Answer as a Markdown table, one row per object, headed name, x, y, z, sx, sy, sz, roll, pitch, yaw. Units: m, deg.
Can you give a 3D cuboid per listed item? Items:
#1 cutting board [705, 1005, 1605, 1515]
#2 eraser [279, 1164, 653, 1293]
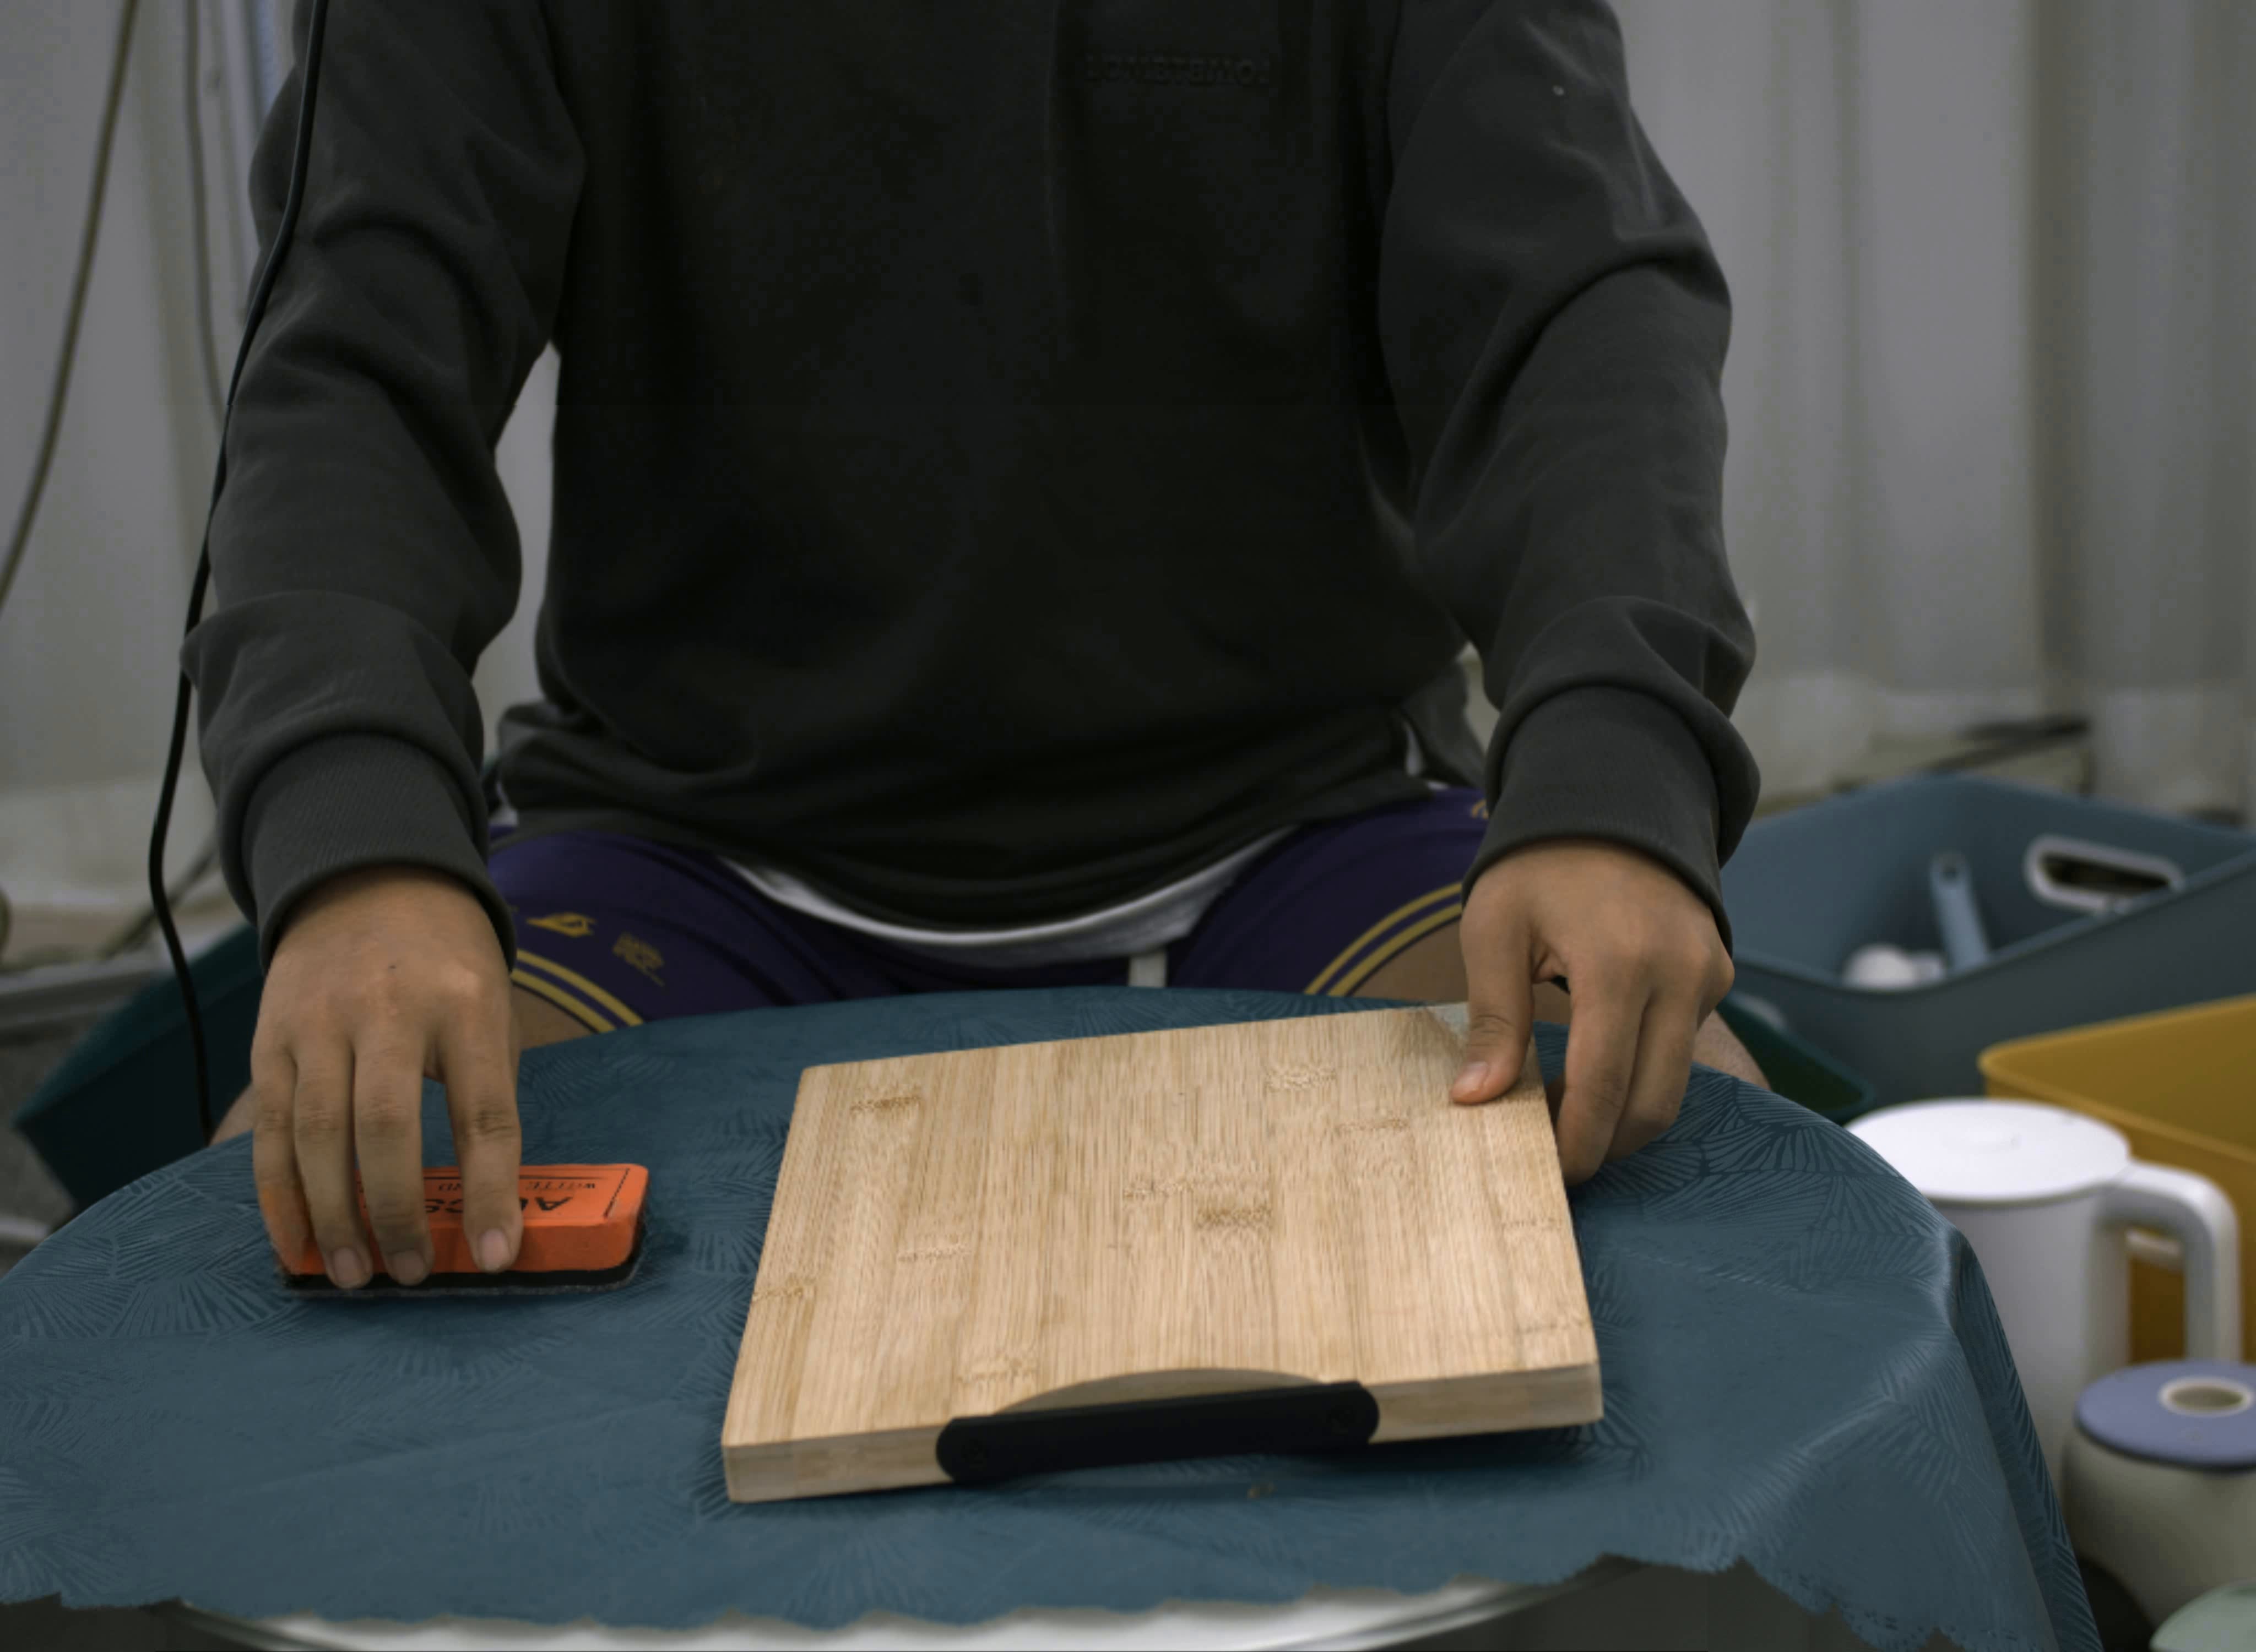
| name | x | y | z | sx | sy | sz | roll | pitch | yaw |
| --- | --- | --- | --- | --- | --- | --- | --- | --- | --- |
| cutting board | 0.010 | 0.122 | 1.629 | 0.250 | 0.023 | 0.351 | -6 | 15 | 2 |
| eraser | -0.202 | 0.123 | 1.677 | 0.108 | 0.023 | 0.059 | -1 | 15 | 7 |
